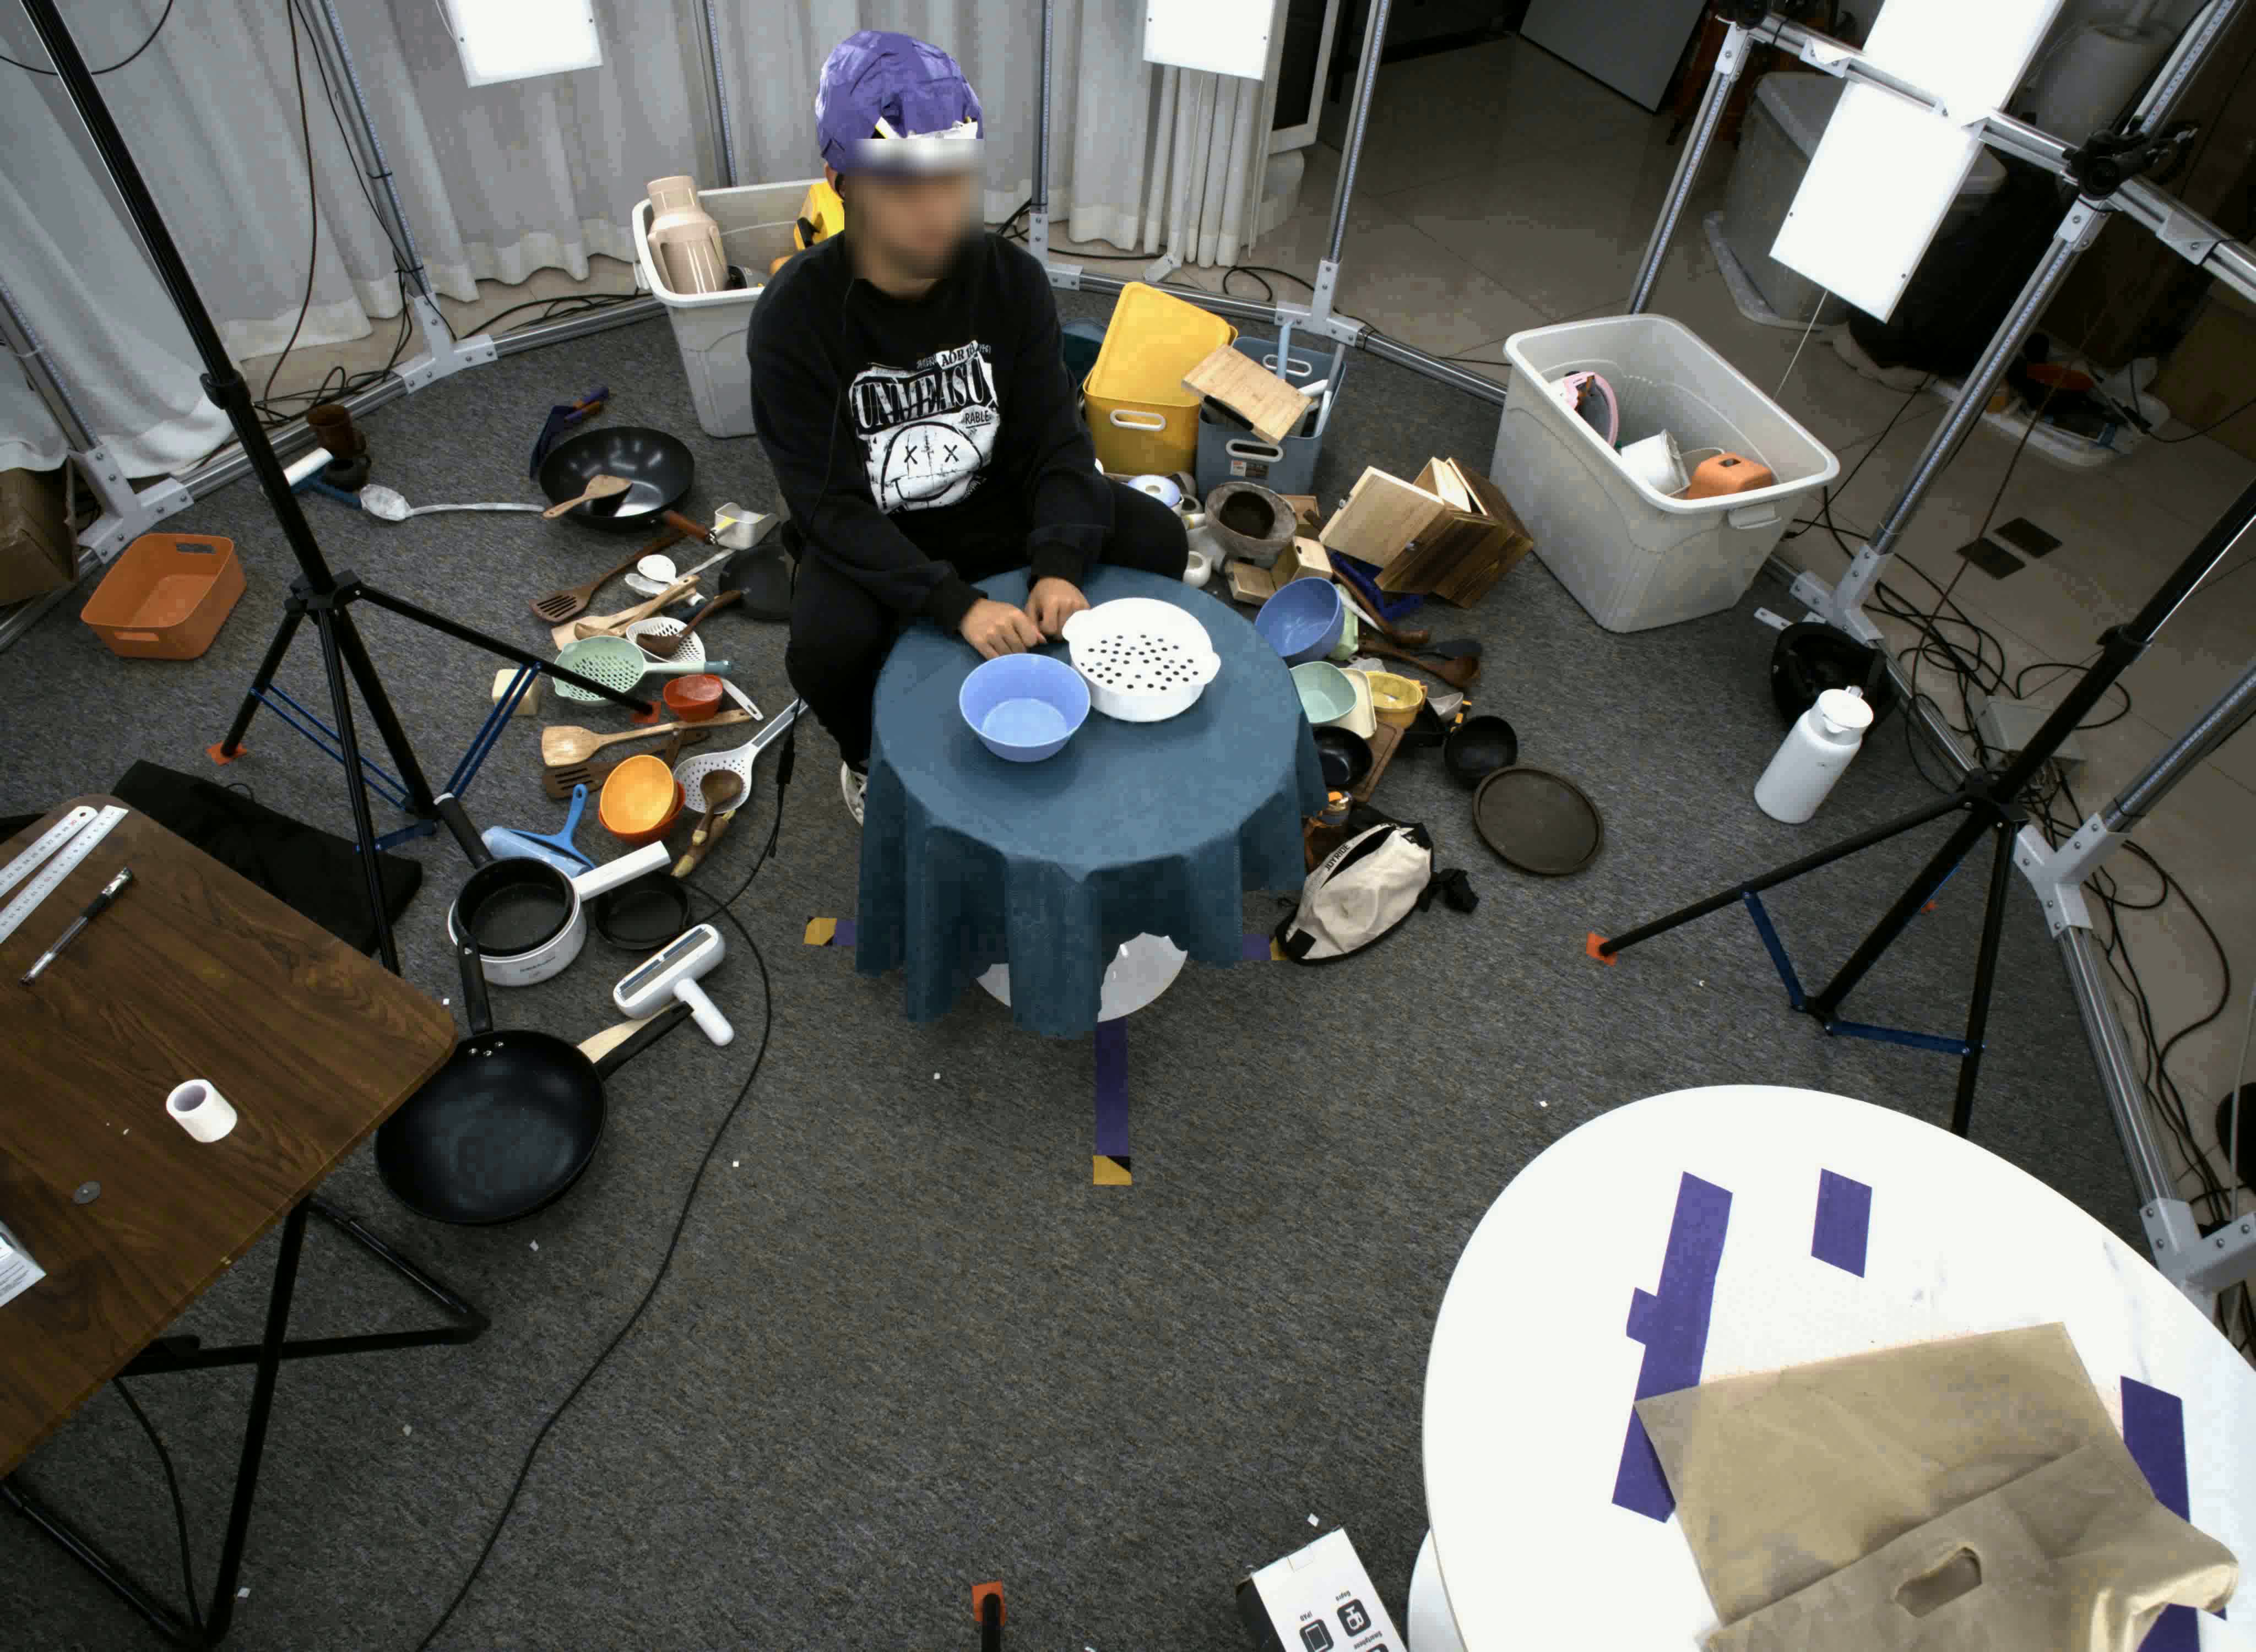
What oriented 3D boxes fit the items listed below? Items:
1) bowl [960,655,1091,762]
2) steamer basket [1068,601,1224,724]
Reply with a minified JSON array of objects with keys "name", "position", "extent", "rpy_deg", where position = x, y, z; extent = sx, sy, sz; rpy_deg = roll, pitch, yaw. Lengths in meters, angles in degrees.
[{"name":"bowl","position":[-0.140,-0.152,1.761],"extent":[0.176,0.068,0.180],"rpy_deg":[2,50,-3]},{"name":"steamer basket","position":[0.023,-0.234,1.845],"extent":[0.232,0.067,0.205],"rpy_deg":[21,51,12]}]
